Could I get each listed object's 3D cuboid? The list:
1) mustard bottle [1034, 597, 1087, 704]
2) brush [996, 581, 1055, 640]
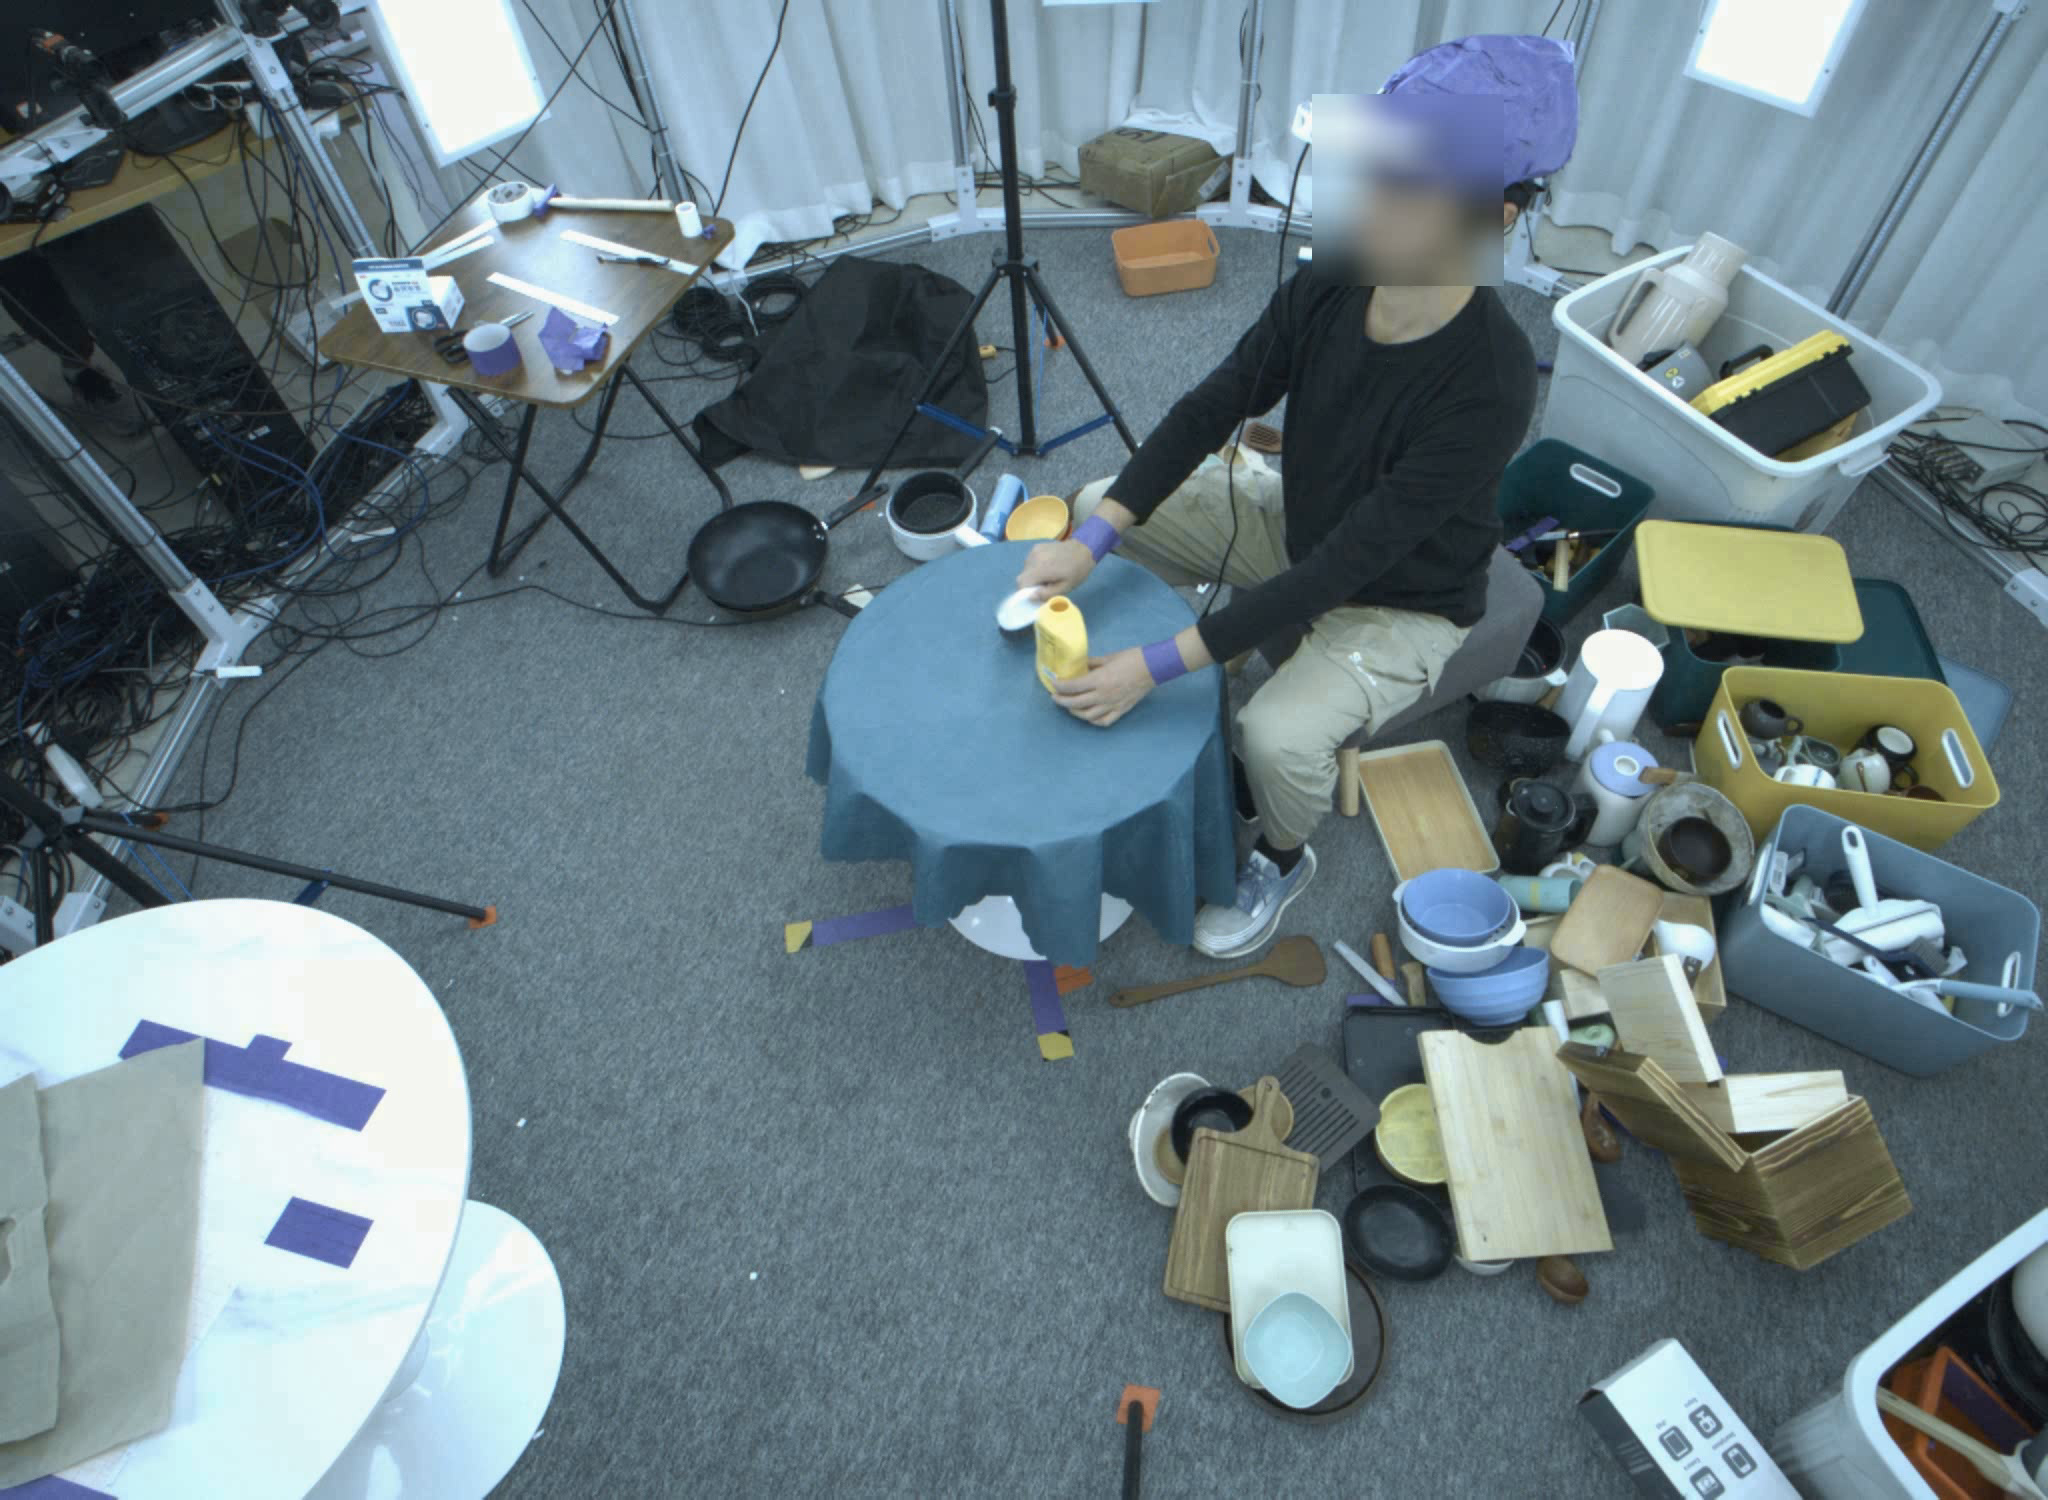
[{"bbox_3d":[0.052,-0.152,1.792,0.060,0.174,0.096,-35,58,-23],"label":"mustard bottle"},{"bbox_3d":[0.002,-0.220,1.870,0.100,0.073,0.049,-28,57,-17],"label":"brush"}]
